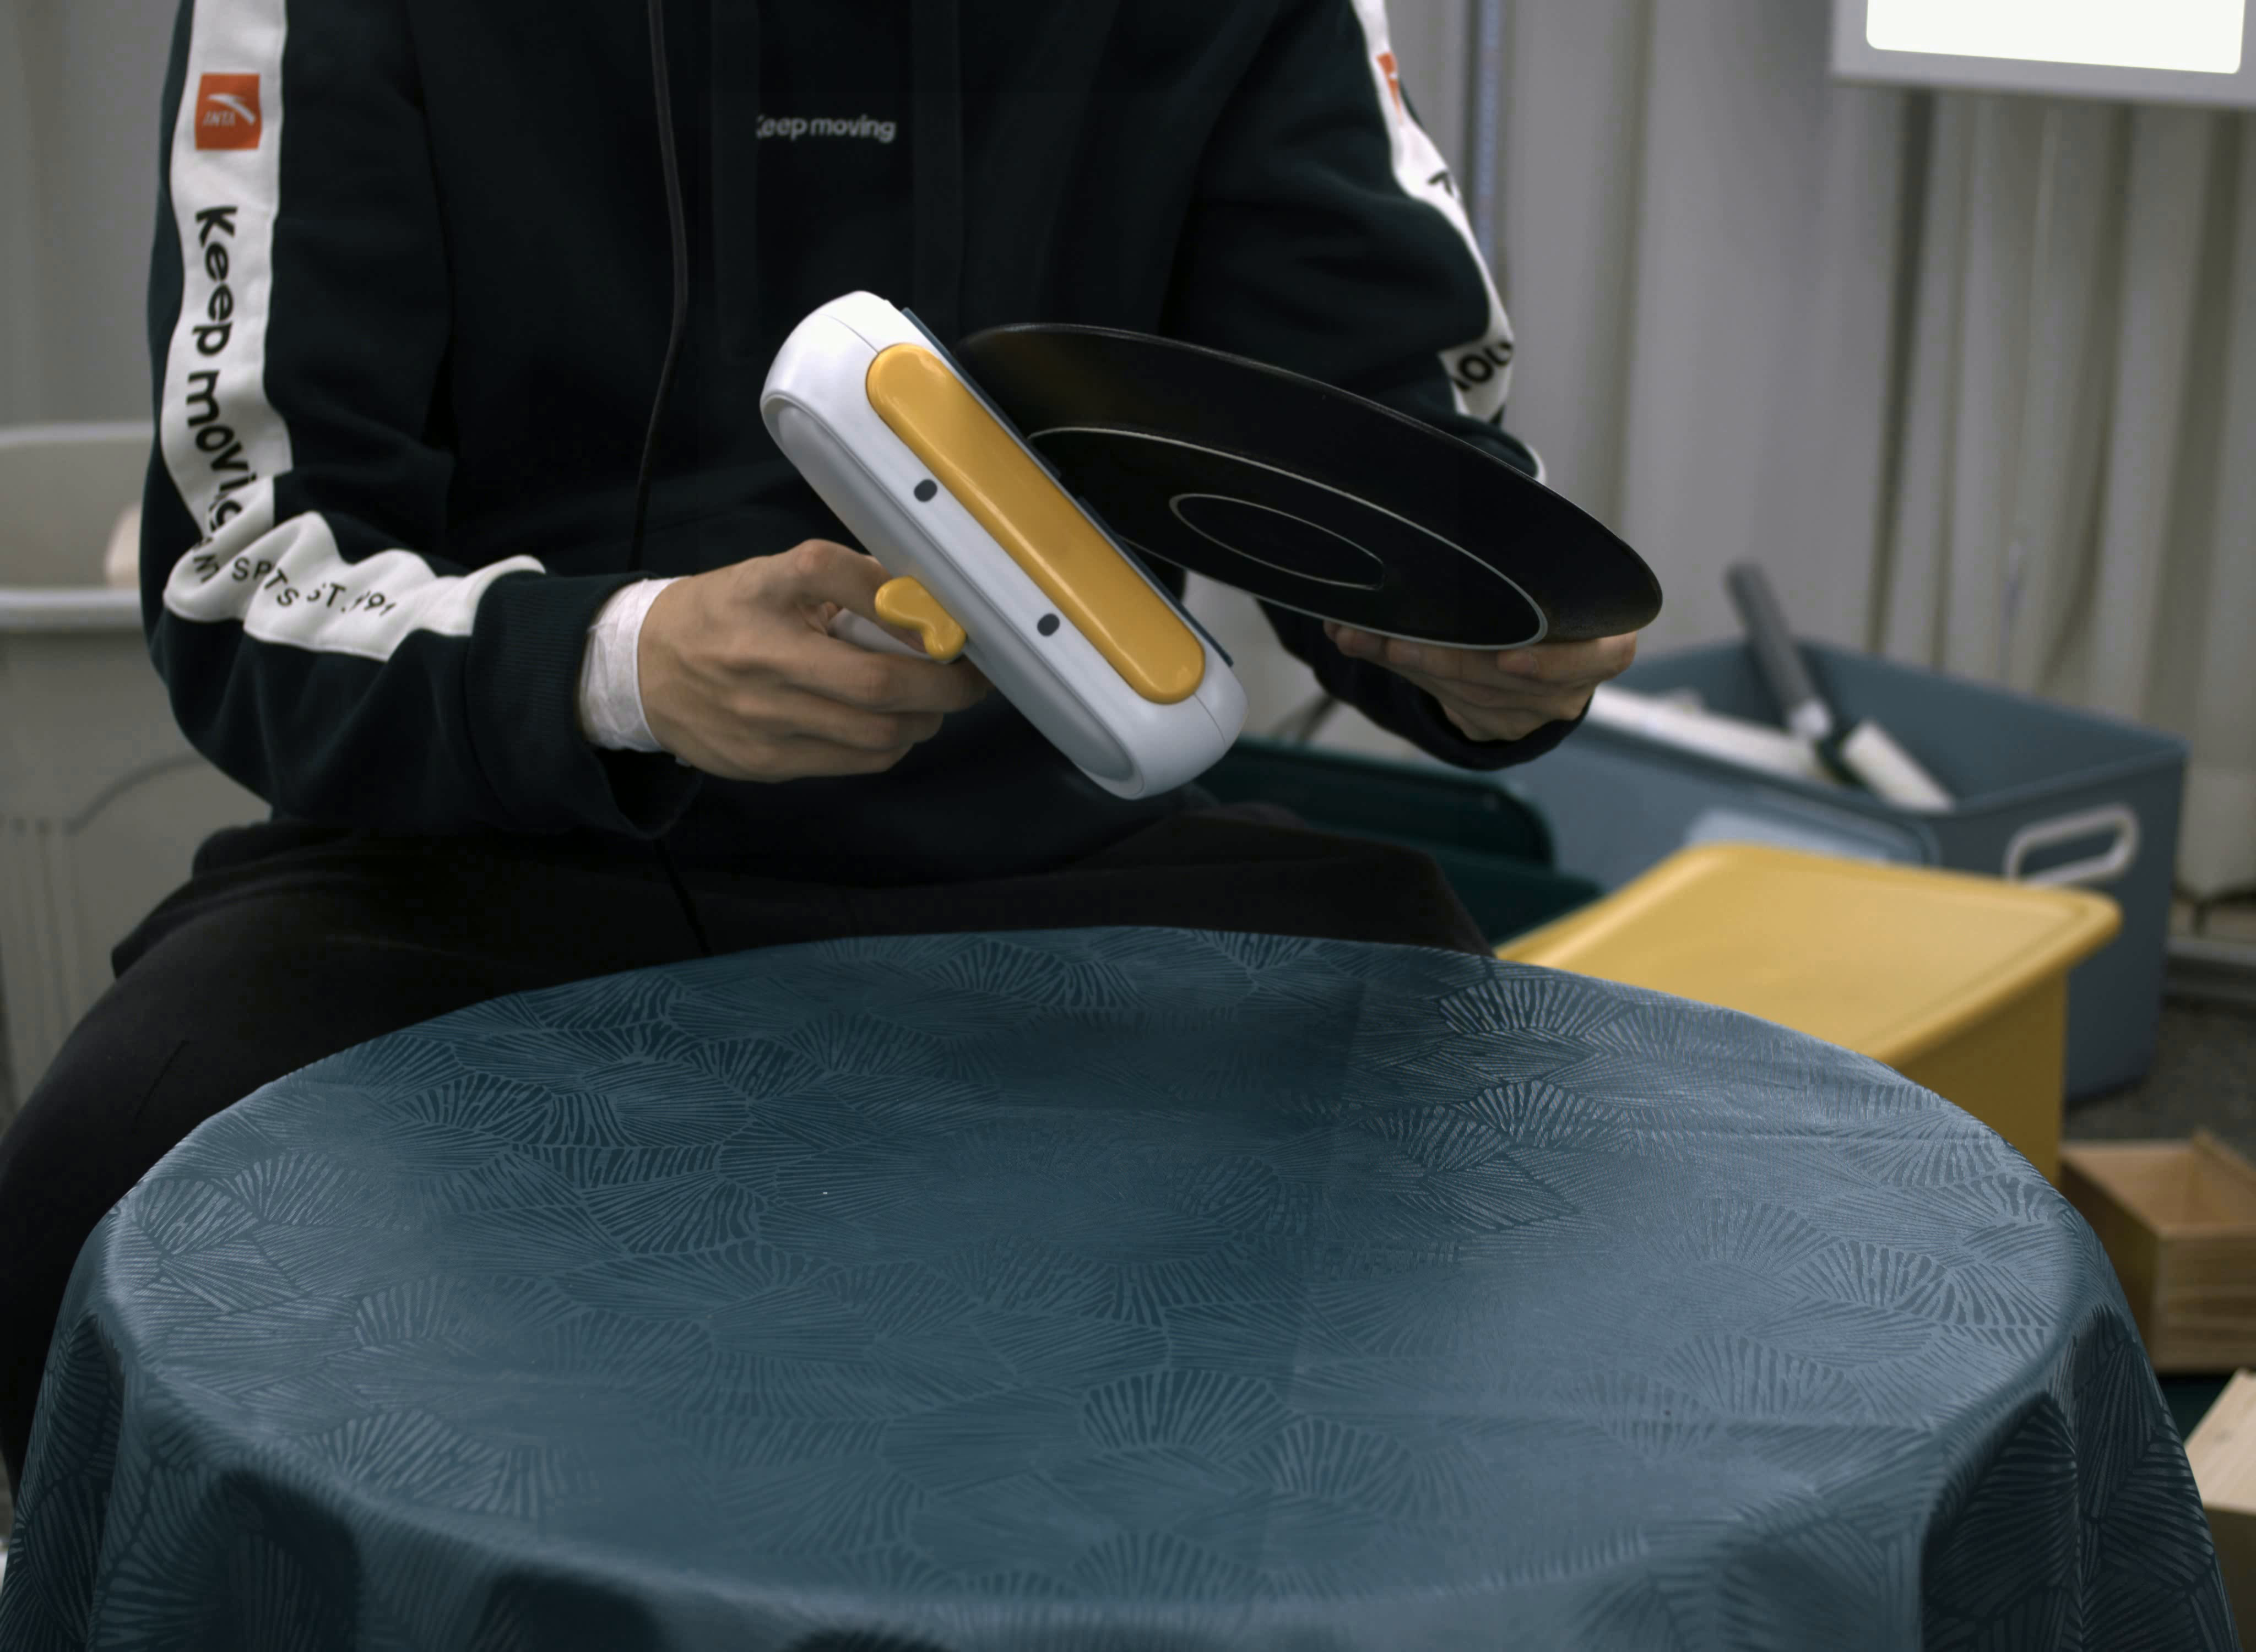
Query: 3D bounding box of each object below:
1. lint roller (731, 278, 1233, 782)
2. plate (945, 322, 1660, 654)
[{"bbox_3d":[-0.070,-0.071,1.728,0.074,0.193,0.192,-51,5,-27],"label":"lint roller"},{"bbox_3d":[0.053,-0.102,1.693,0.243,0.023,0.245,19,-10,4],"label":"plate"}]
